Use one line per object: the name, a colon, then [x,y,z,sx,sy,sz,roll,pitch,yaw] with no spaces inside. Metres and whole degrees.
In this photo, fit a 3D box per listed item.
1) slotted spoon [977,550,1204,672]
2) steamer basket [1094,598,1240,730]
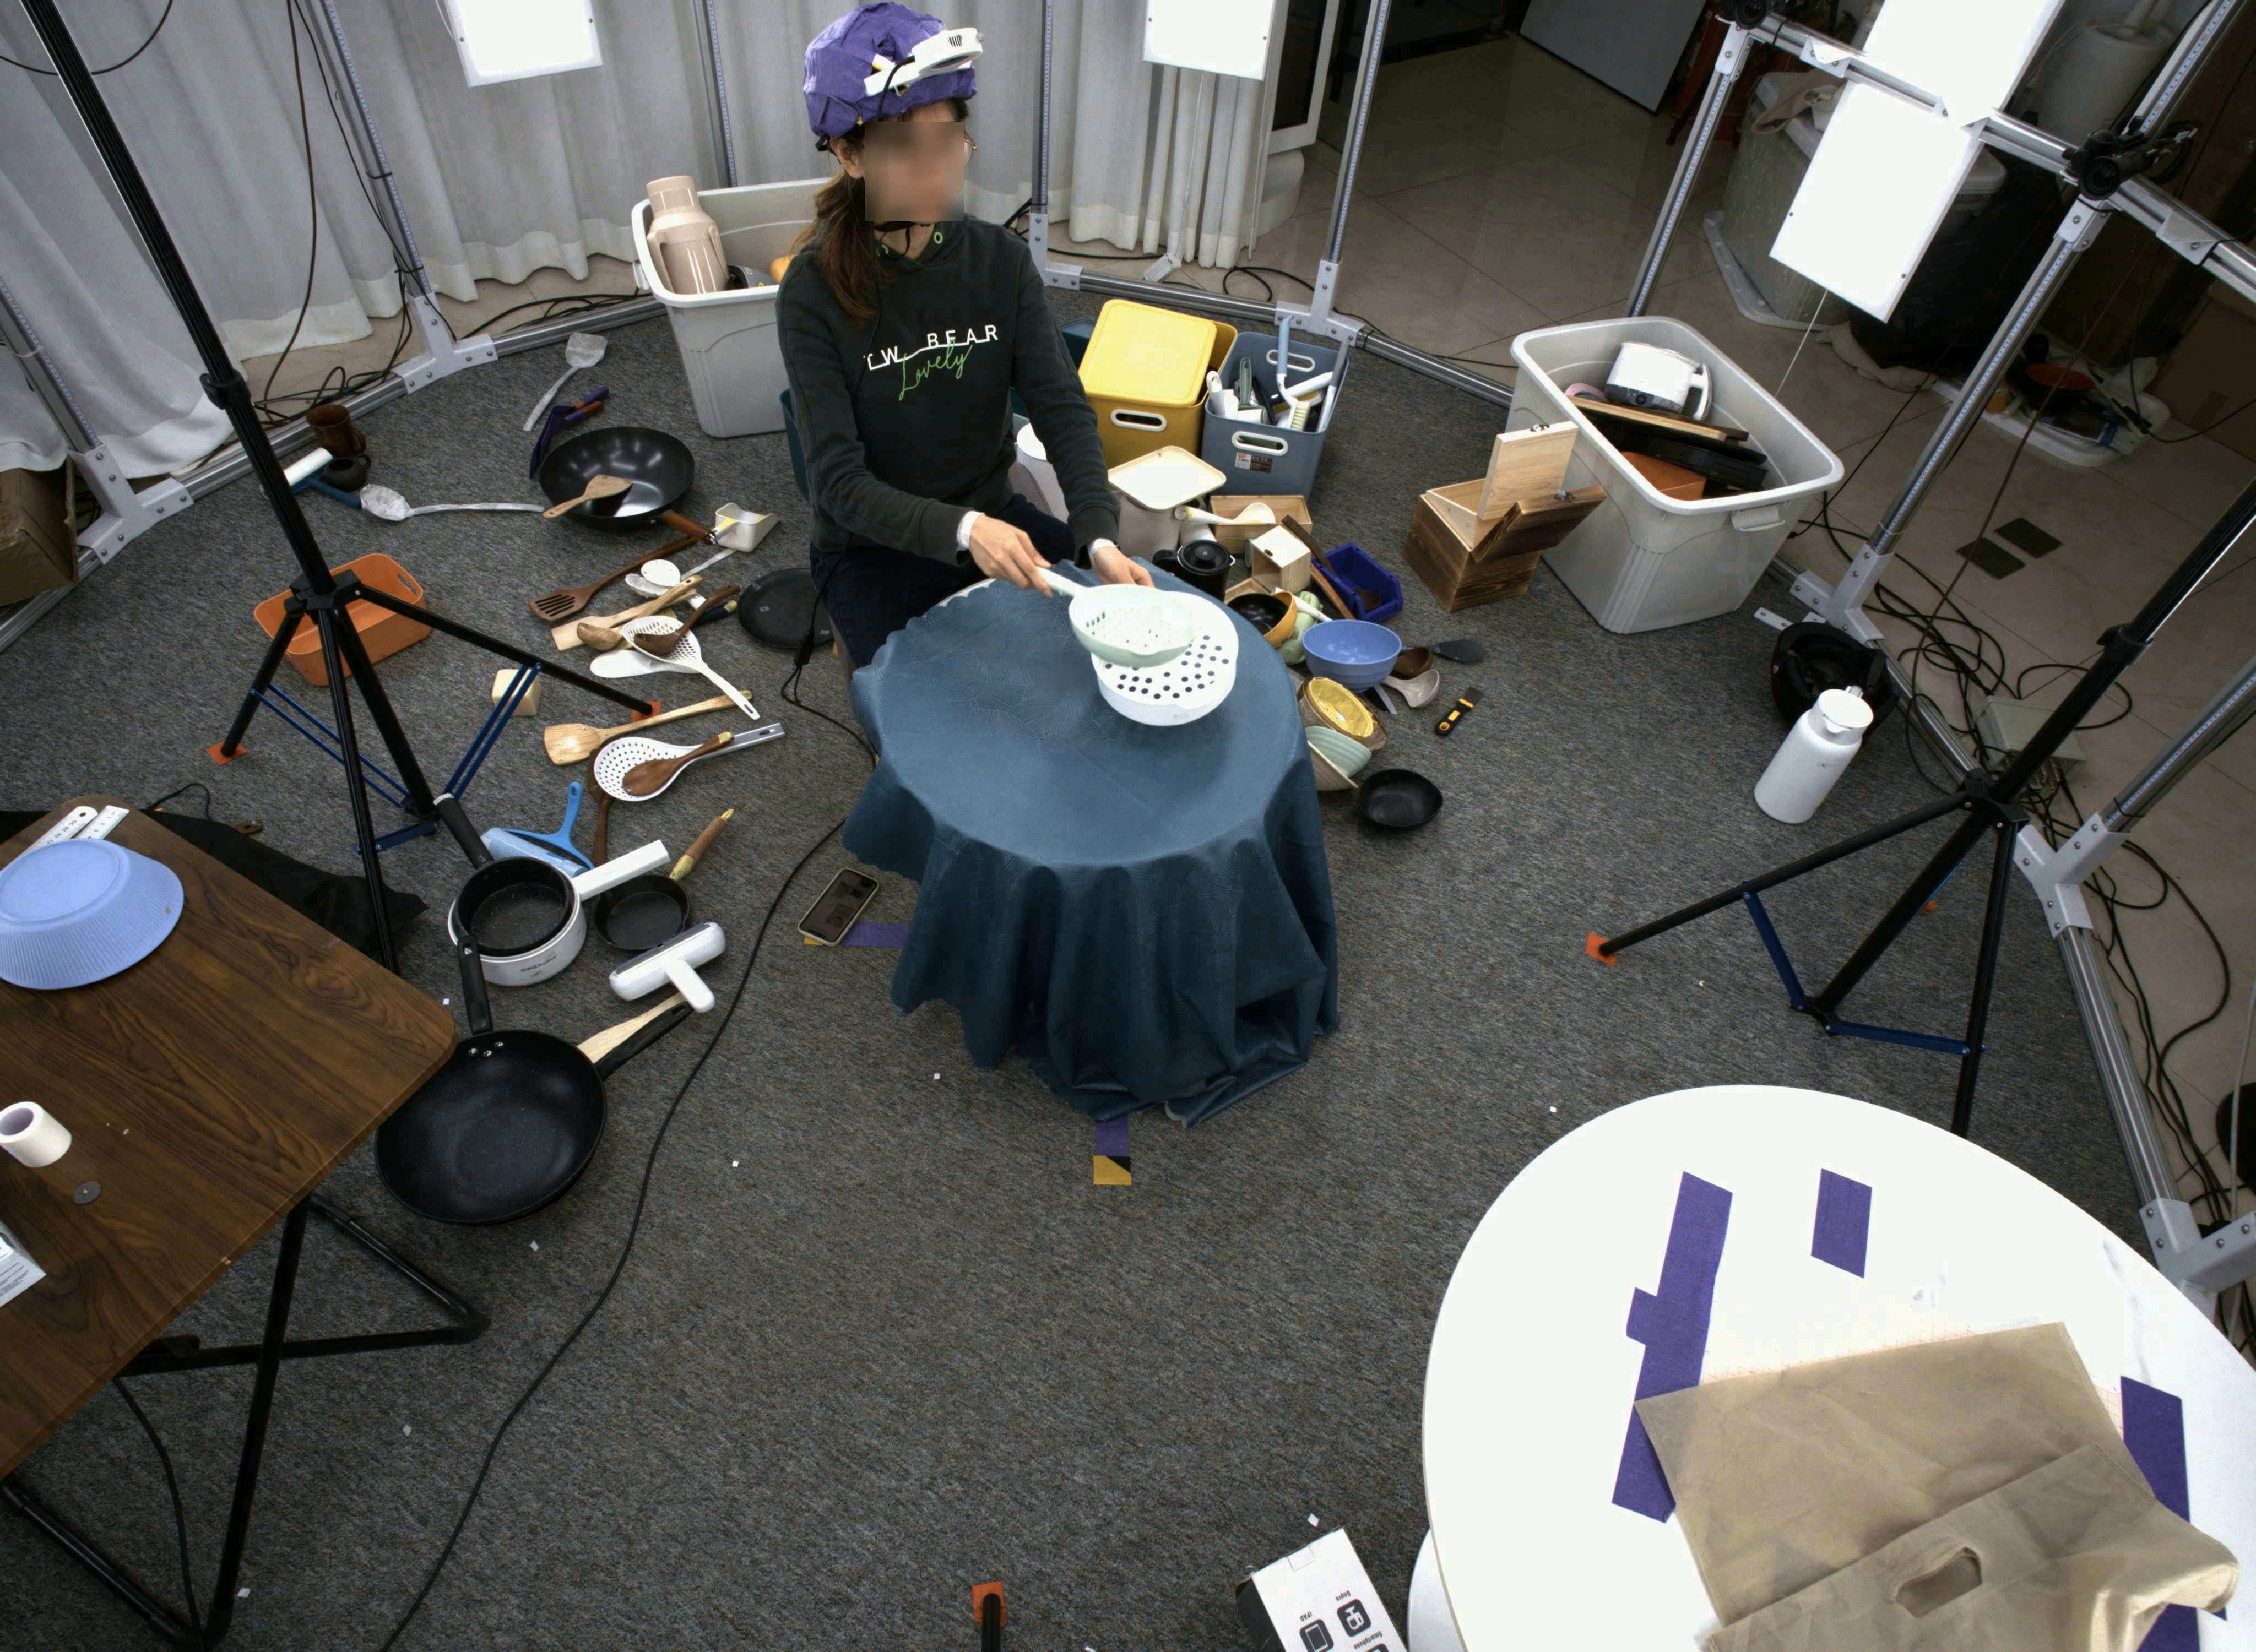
slotted spoon: [-0.069,-0.304,1.727,0.363,0.074,0.171,37,44,22]
steamer basket: [0.056,-0.224,1.787,0.202,0.067,0.235,-27,56,-14]
